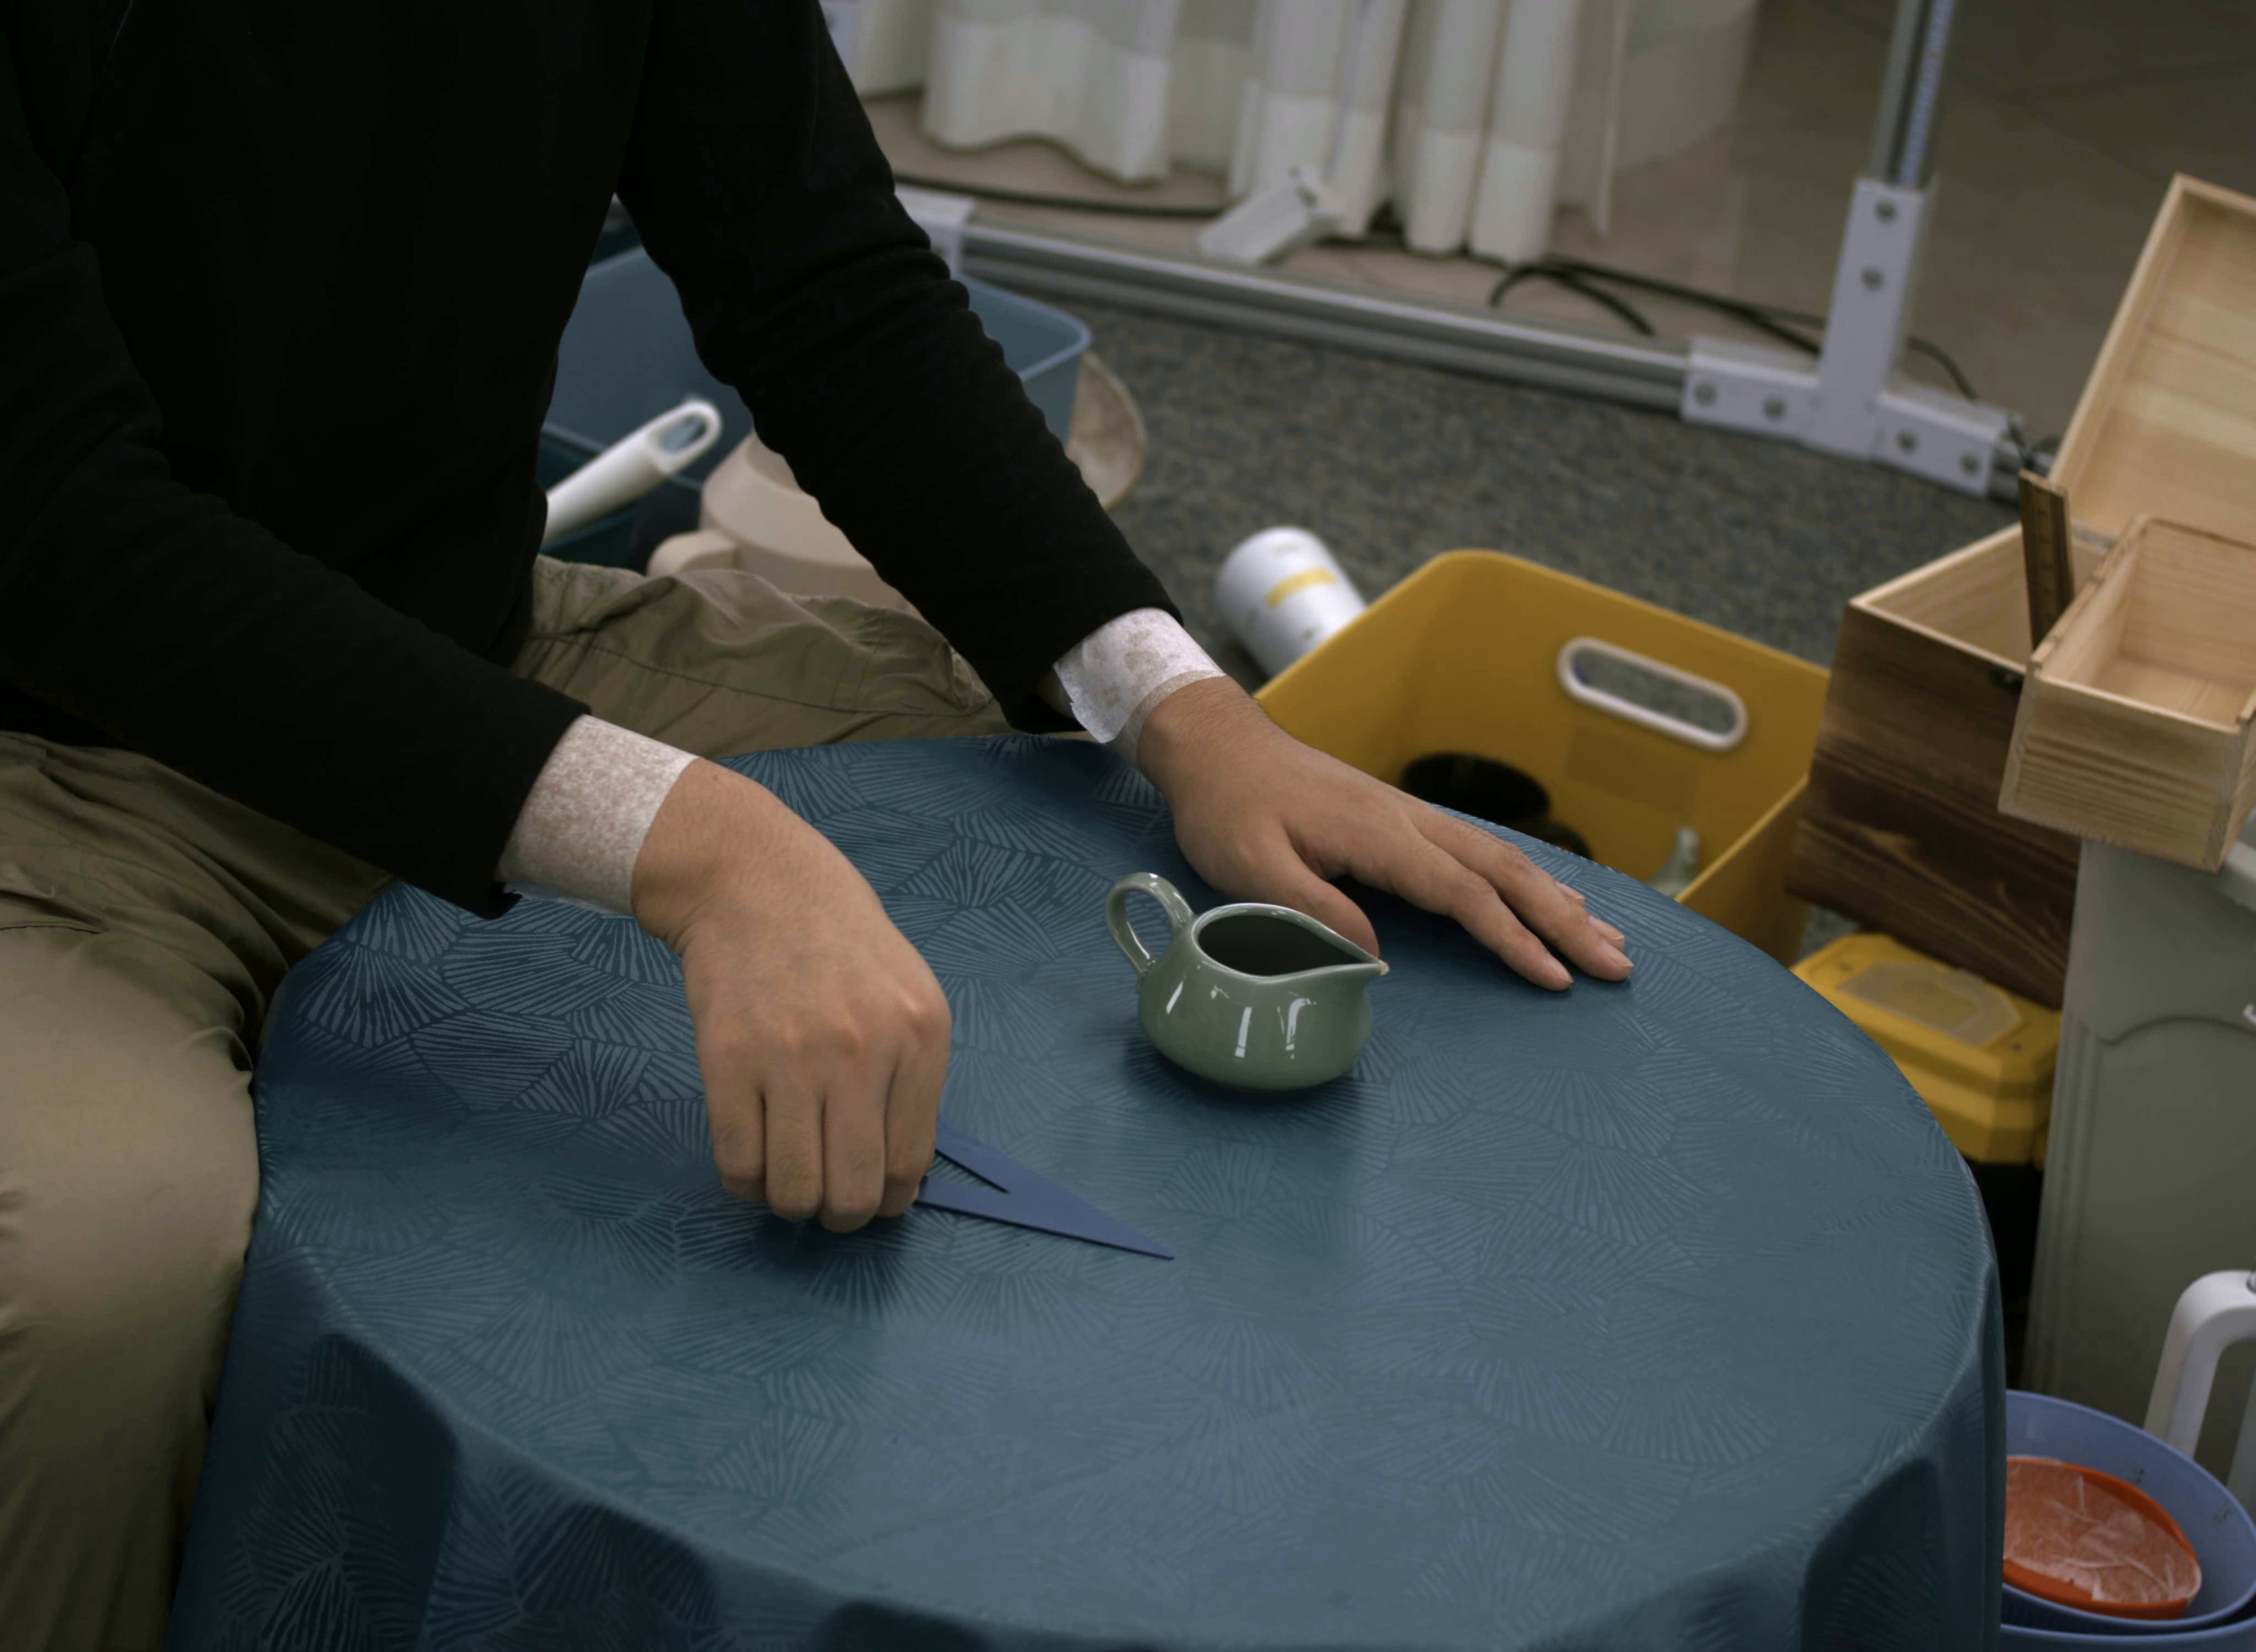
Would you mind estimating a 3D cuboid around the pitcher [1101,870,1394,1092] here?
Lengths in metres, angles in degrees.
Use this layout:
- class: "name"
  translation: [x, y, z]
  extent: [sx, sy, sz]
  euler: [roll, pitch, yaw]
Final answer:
- class: "pitcher"
  translation: [0.040, 0.055, 1.883]
  extent: [0.113, 0.056, 0.084]
  euler: [19, 27, 23]

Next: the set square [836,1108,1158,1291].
- class: "set square"
  translation: [-0.051, 0.129, 1.775]
  extent: [0.061, 0.006, 0.133]
  euler: [-16, 35, -41]
